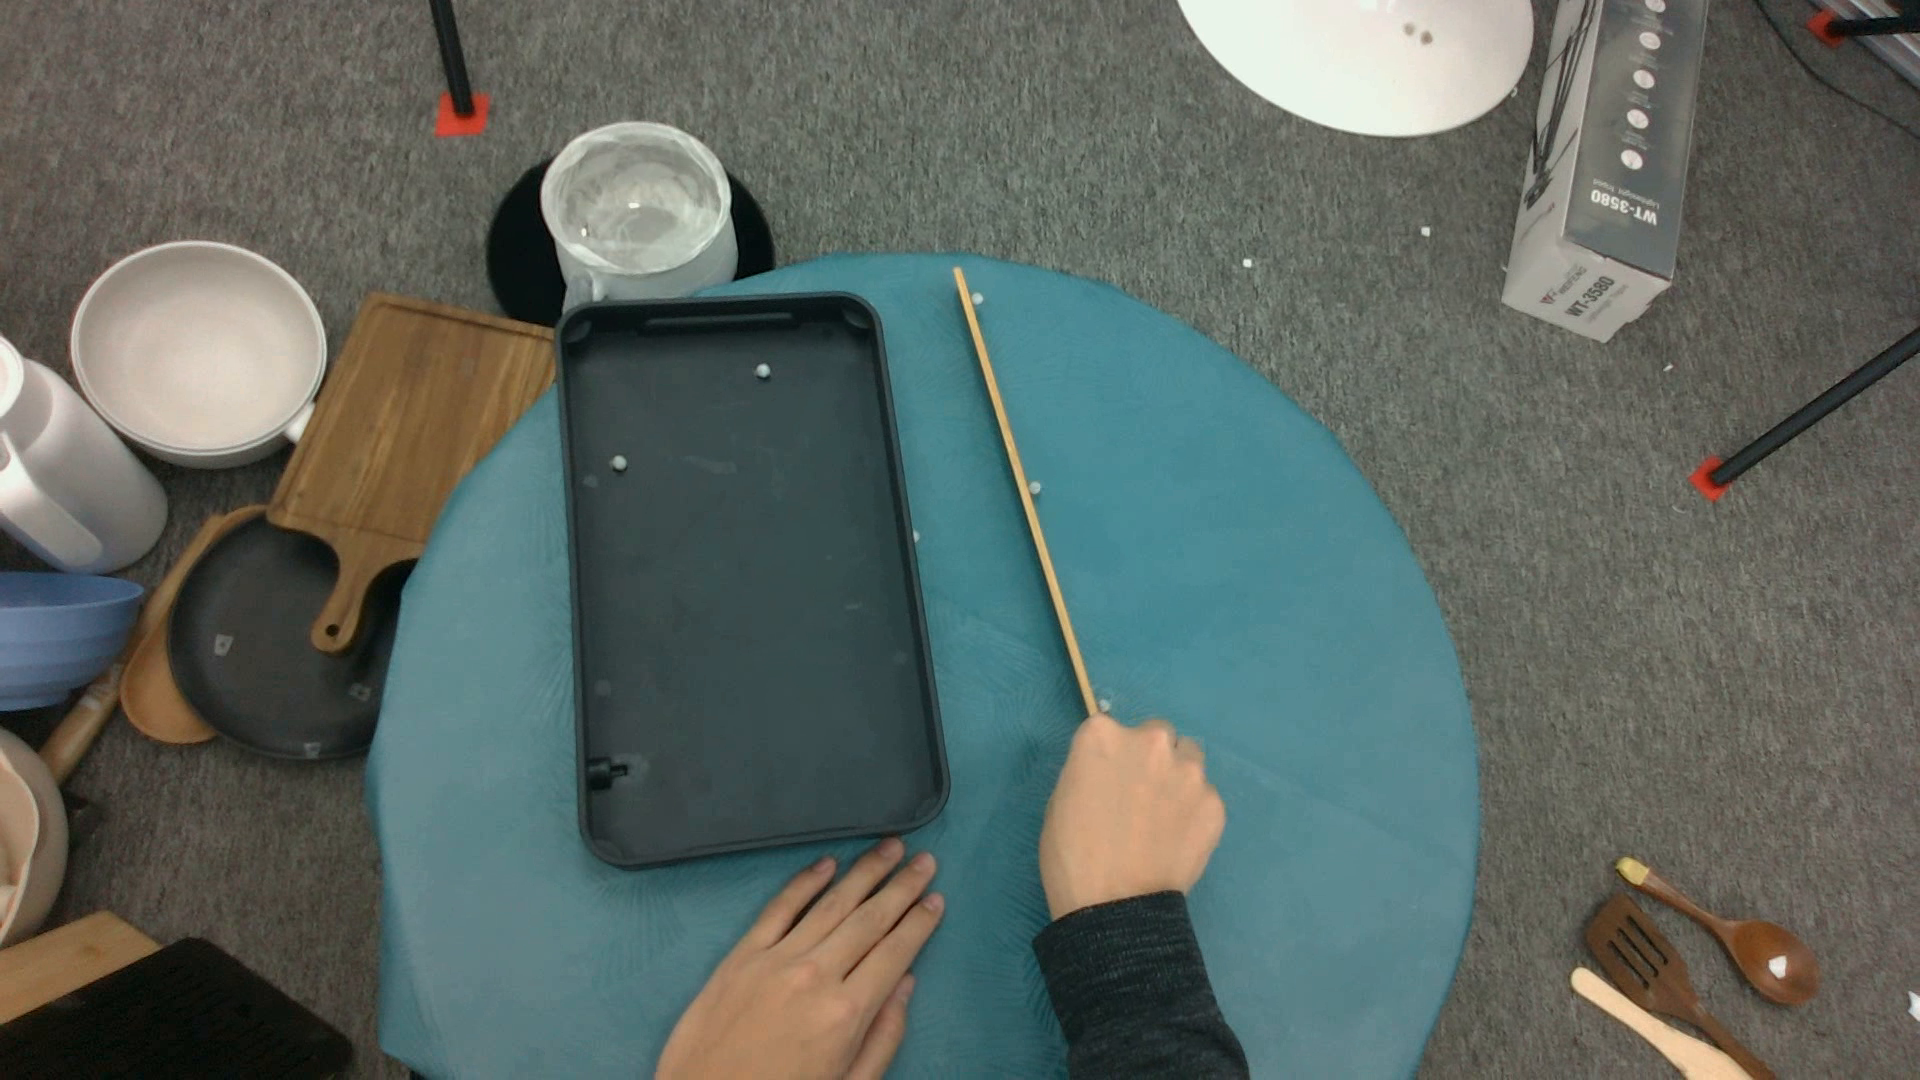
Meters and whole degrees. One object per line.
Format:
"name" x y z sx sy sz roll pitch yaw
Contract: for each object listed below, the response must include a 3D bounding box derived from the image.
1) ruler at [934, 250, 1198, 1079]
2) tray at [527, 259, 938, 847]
"ruler" 0.053 0.053 0.762 0.006 0.027 0.501 -17 71 3
"tray" -0.128 -0.003 0.747 0.184 0.037 0.319 -7 70 -13
